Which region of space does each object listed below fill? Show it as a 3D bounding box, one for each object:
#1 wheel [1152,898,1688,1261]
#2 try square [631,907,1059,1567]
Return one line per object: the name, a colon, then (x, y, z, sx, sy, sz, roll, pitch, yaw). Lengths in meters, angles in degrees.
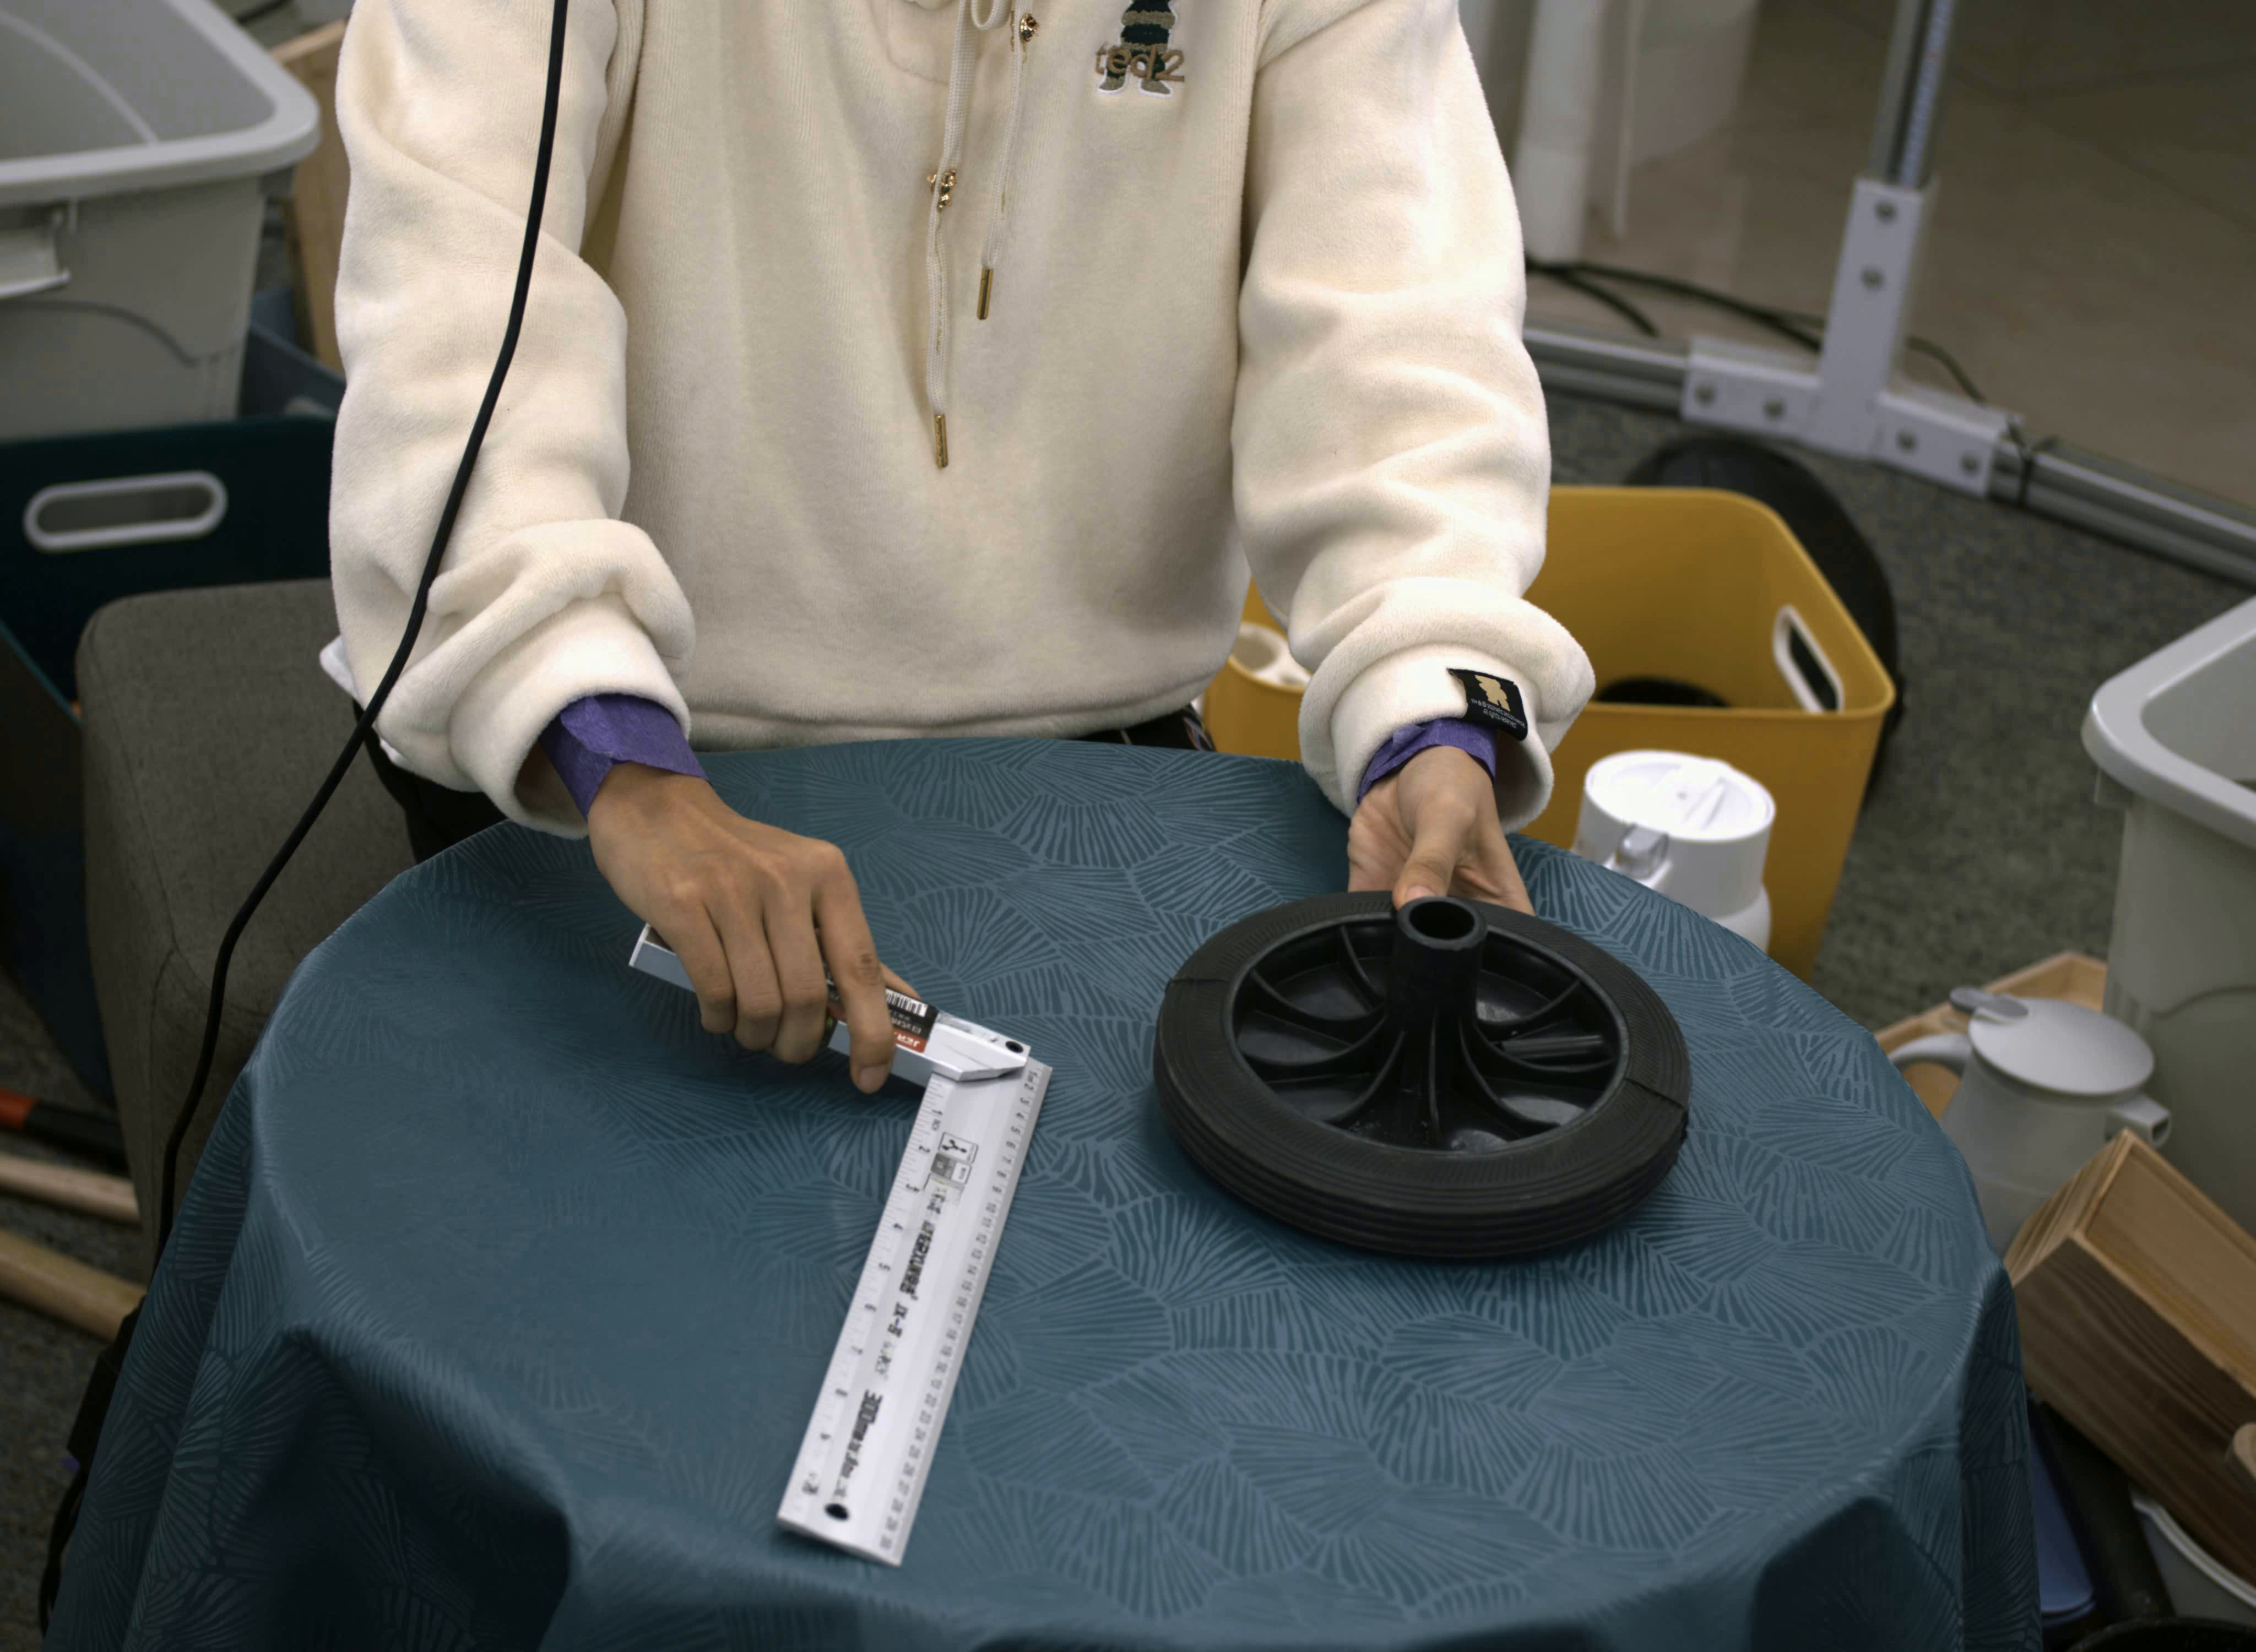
wheel: (0.104, 0.068, 1.839, 0.189, 0.079, 0.189, -19, 41, -32)
try square: (-0.116, 0.127, 1.730, 0.152, 0.016, 0.314, 20, 28, -1)
